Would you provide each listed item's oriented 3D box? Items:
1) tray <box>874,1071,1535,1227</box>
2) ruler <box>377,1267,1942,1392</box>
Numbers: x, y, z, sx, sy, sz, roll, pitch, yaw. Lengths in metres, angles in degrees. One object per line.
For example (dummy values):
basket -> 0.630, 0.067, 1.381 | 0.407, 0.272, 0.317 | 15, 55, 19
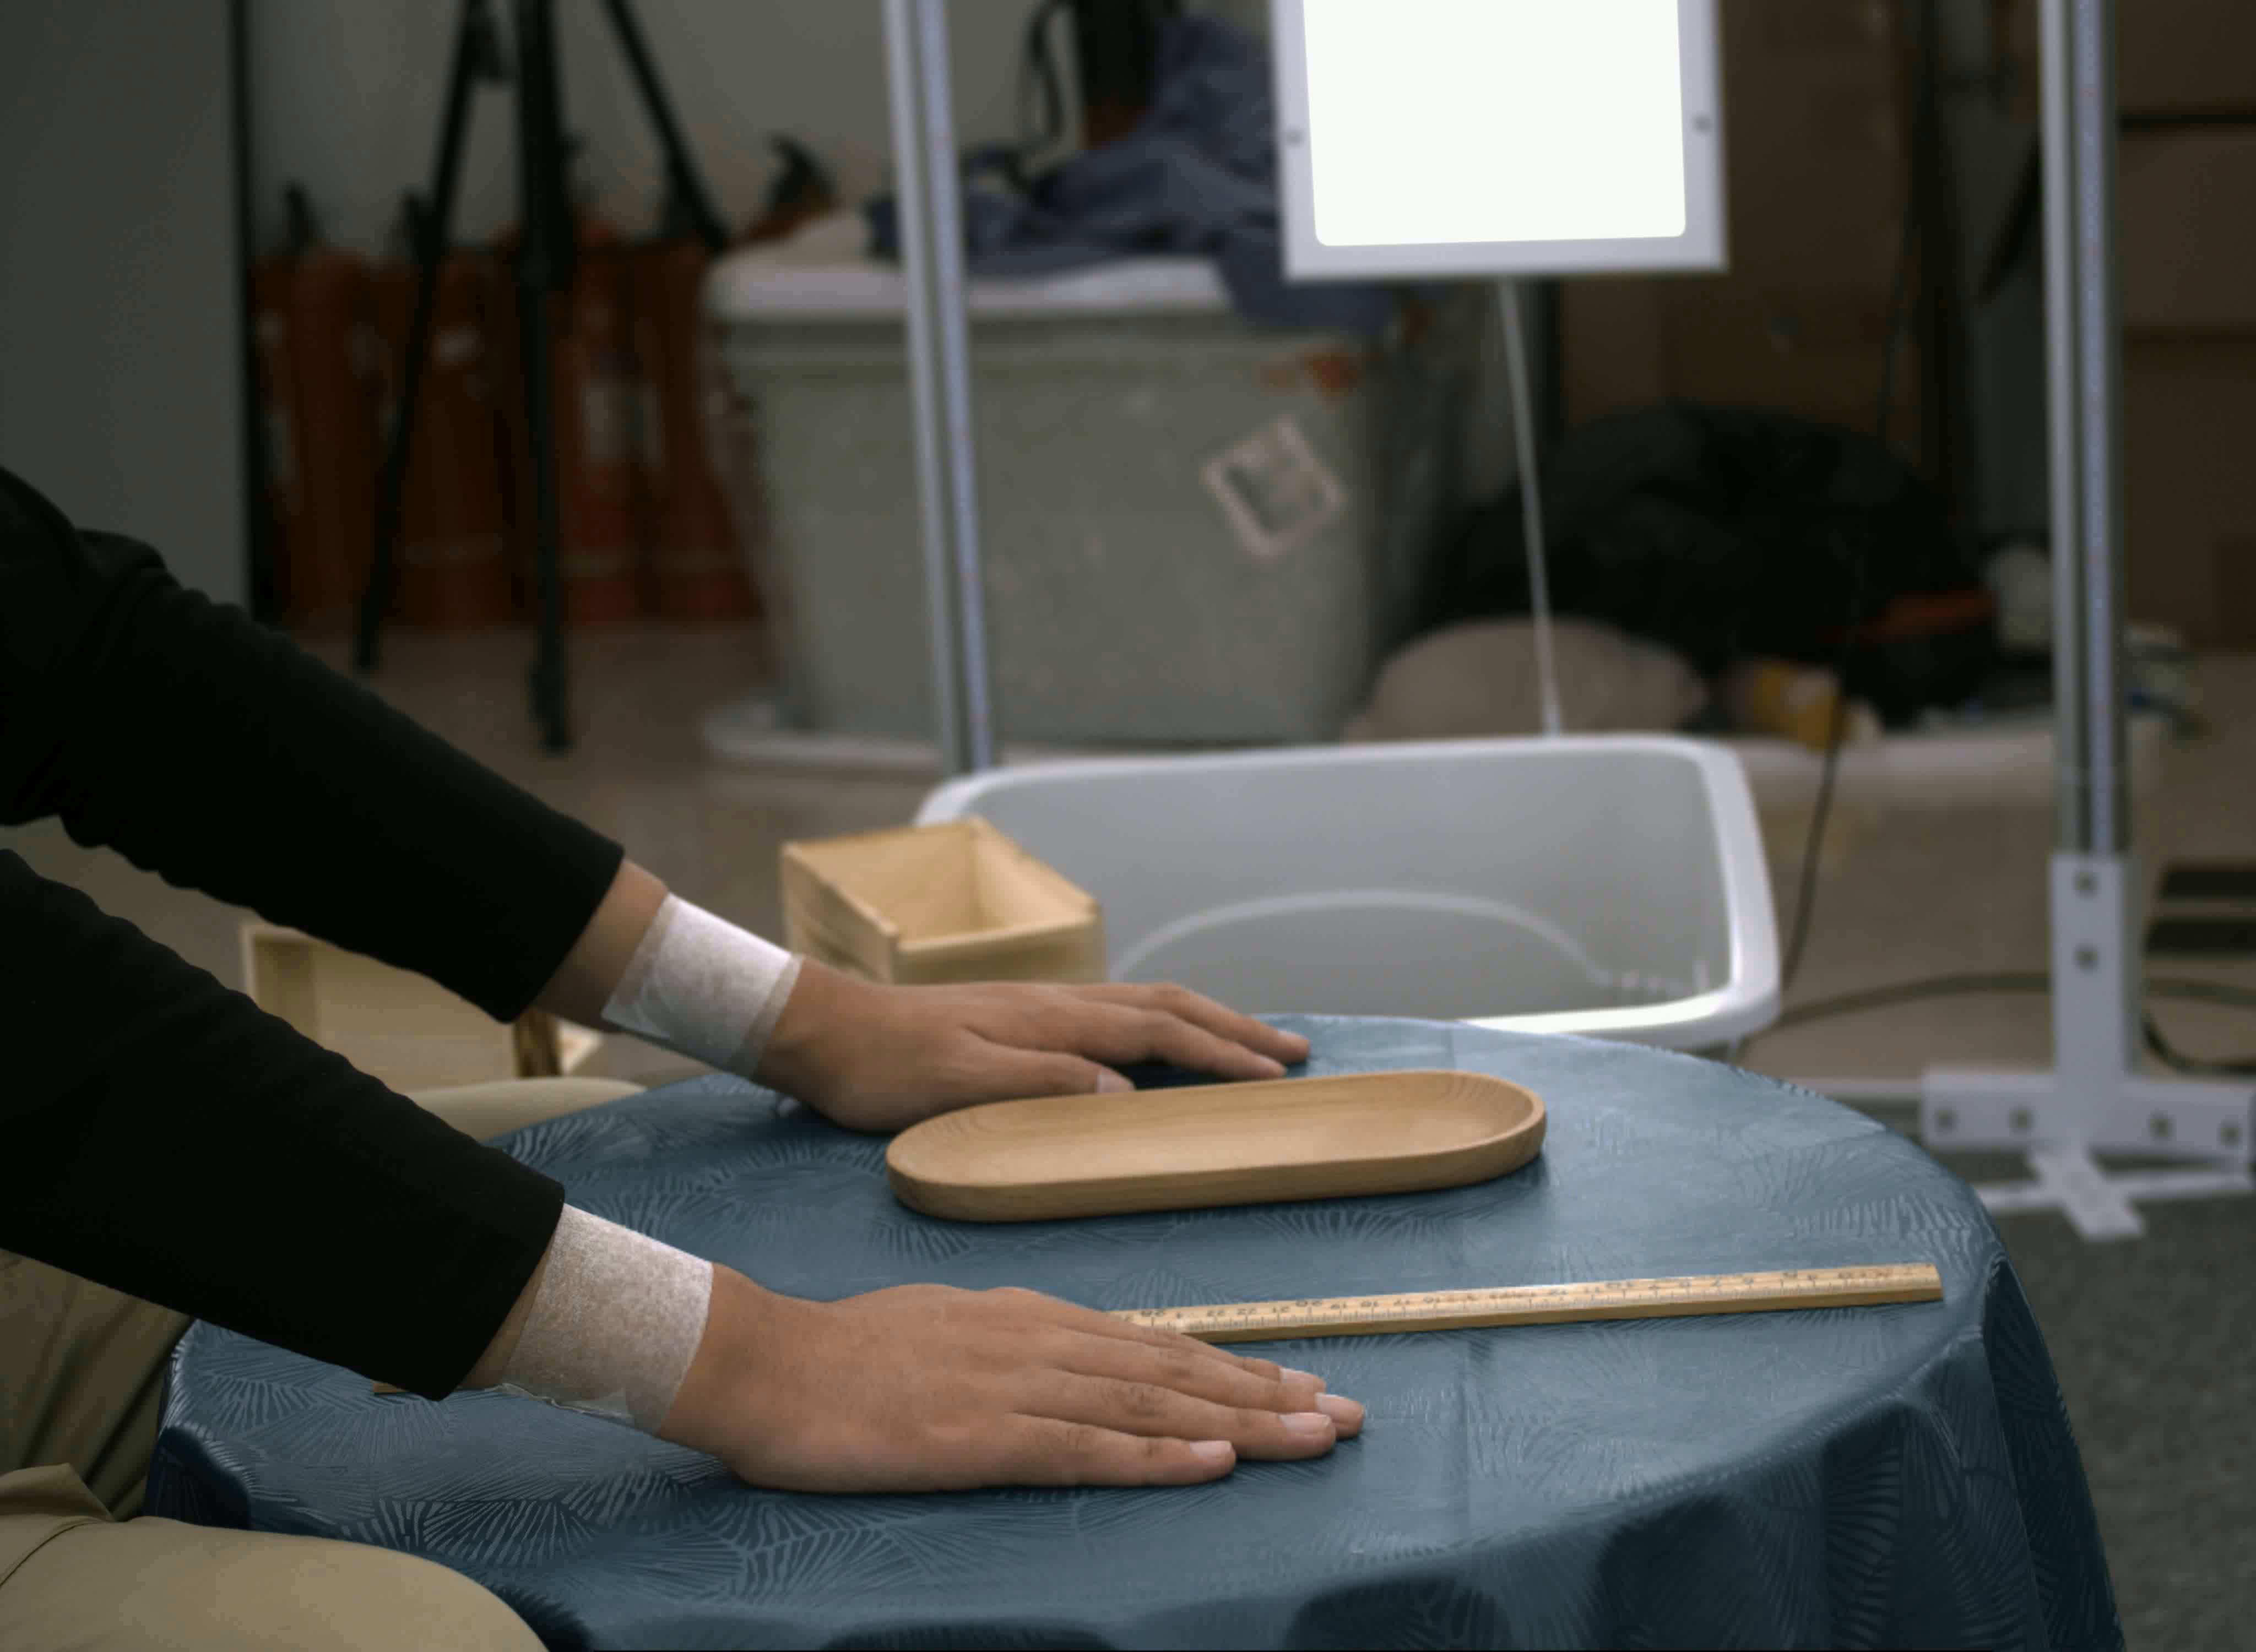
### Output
tray -> 0.027, 0.113, 1.911 | 0.230, 0.020, 0.101 | -7, 12, 1
ruler -> 0.009, 0.160, 1.750 | 0.501, 0.006, 0.026 | -4, 12, 6
